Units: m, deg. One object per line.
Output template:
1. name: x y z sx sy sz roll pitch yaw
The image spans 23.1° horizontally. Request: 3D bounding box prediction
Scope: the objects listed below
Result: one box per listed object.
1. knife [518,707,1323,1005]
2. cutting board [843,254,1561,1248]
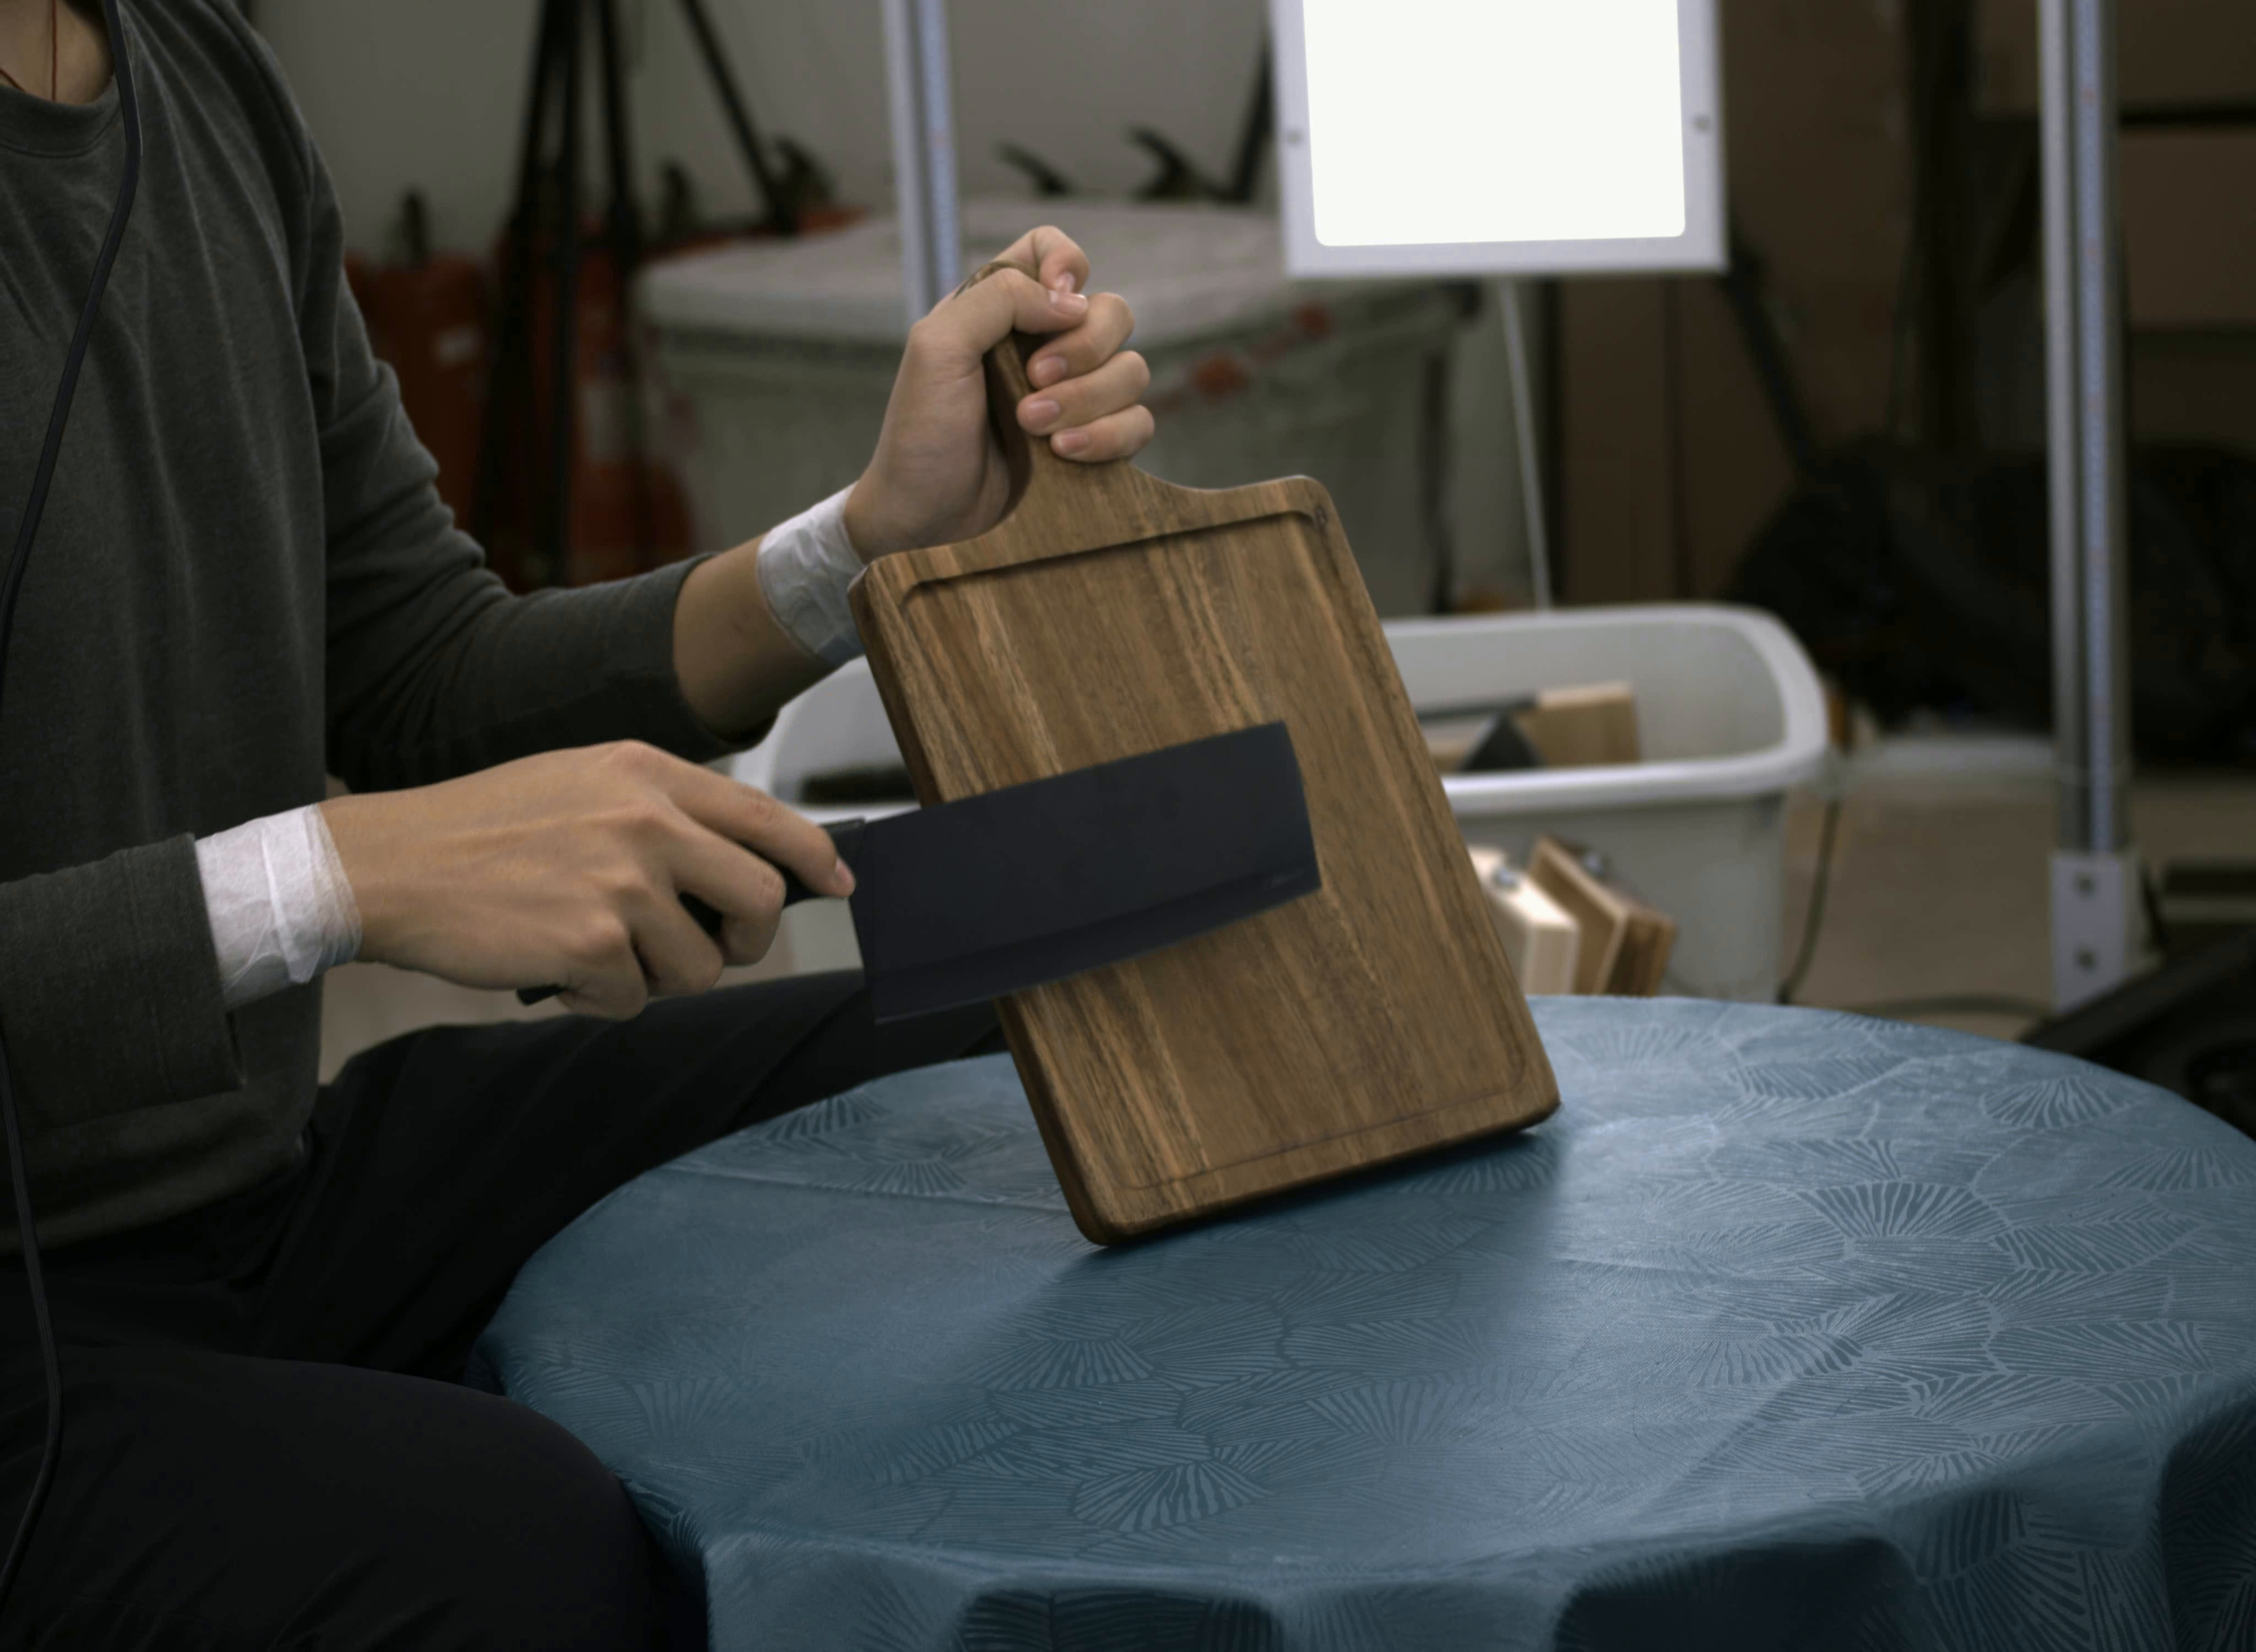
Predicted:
1. knife: -0.063 0.019 1.808 0.295 0.081 0.021 -10 1 -29
2. cutting board: 0.011 -0.039 1.920 0.196 0.353 0.023 -13 -15 -30
